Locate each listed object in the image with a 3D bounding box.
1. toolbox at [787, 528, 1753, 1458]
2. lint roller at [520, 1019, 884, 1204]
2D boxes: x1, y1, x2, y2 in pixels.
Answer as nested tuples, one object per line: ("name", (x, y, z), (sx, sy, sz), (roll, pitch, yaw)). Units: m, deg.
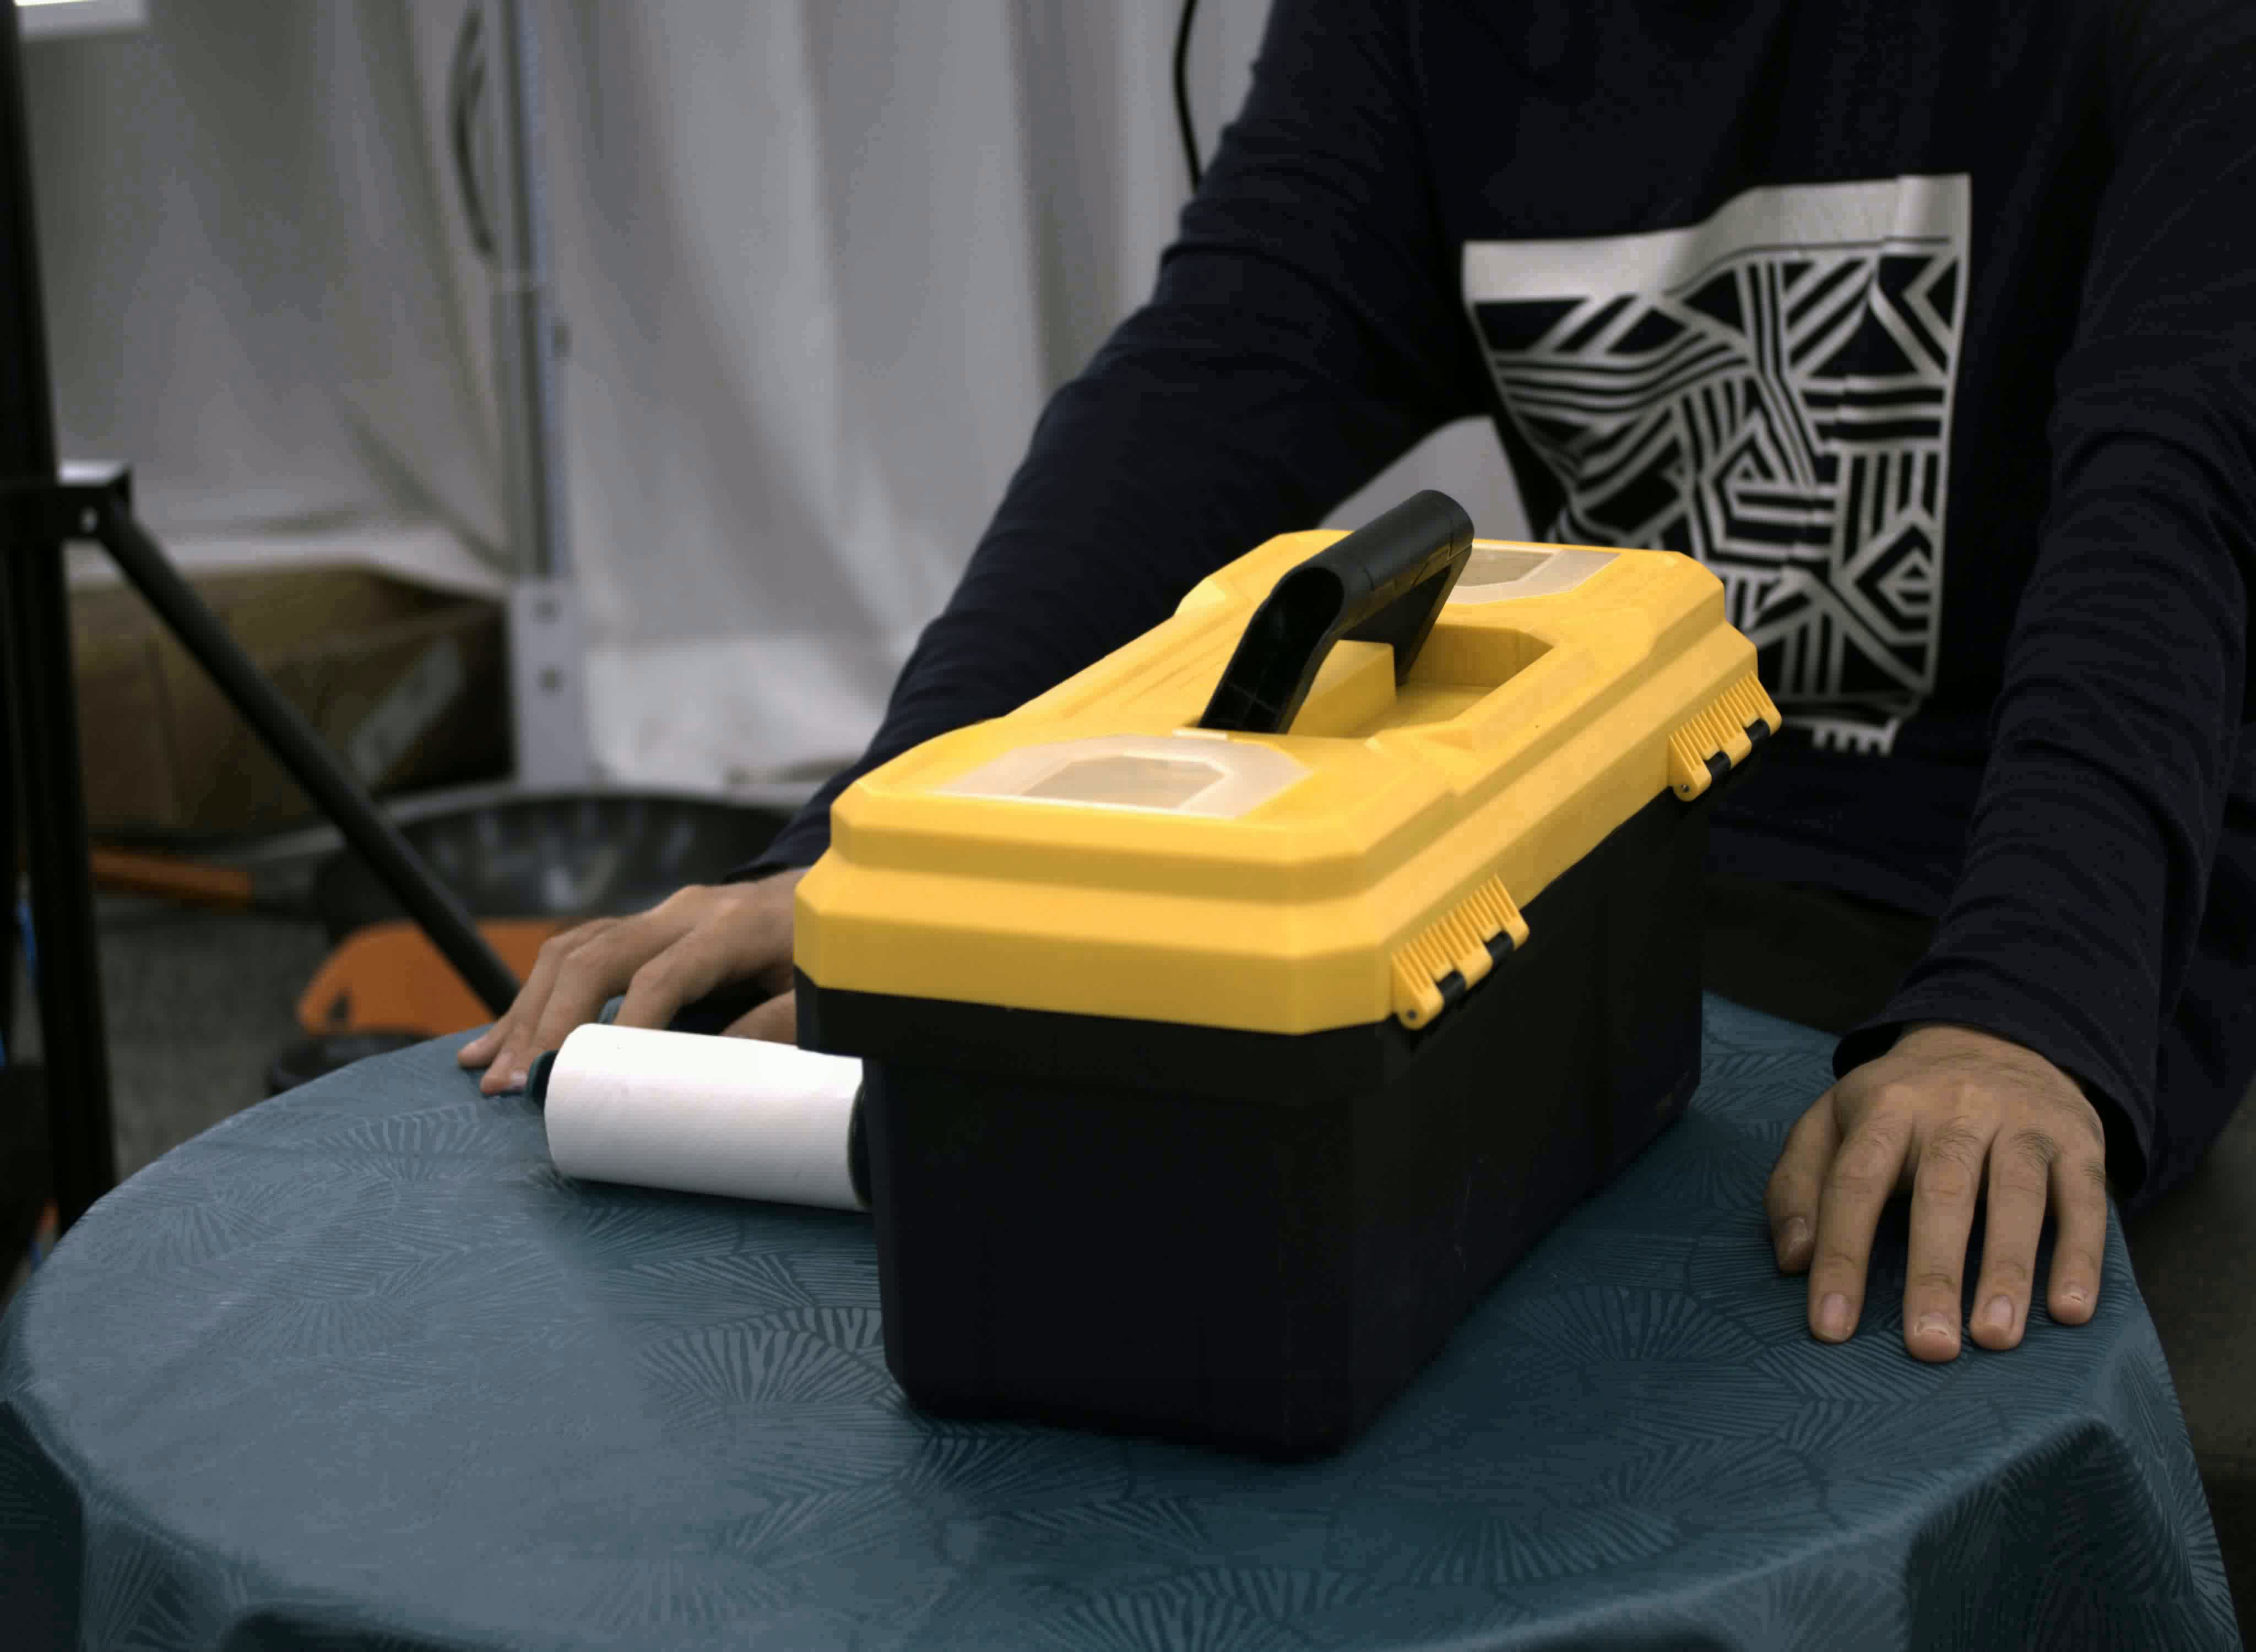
("toolbox", (0.050, 0.037, 1.490), (0.184, 0.173, 0.346), (5, 17, 23))
("lint roller", (-0.093, 0.072, 1.633), (0.136, 0.048, 0.177), (3, 12, 23))
